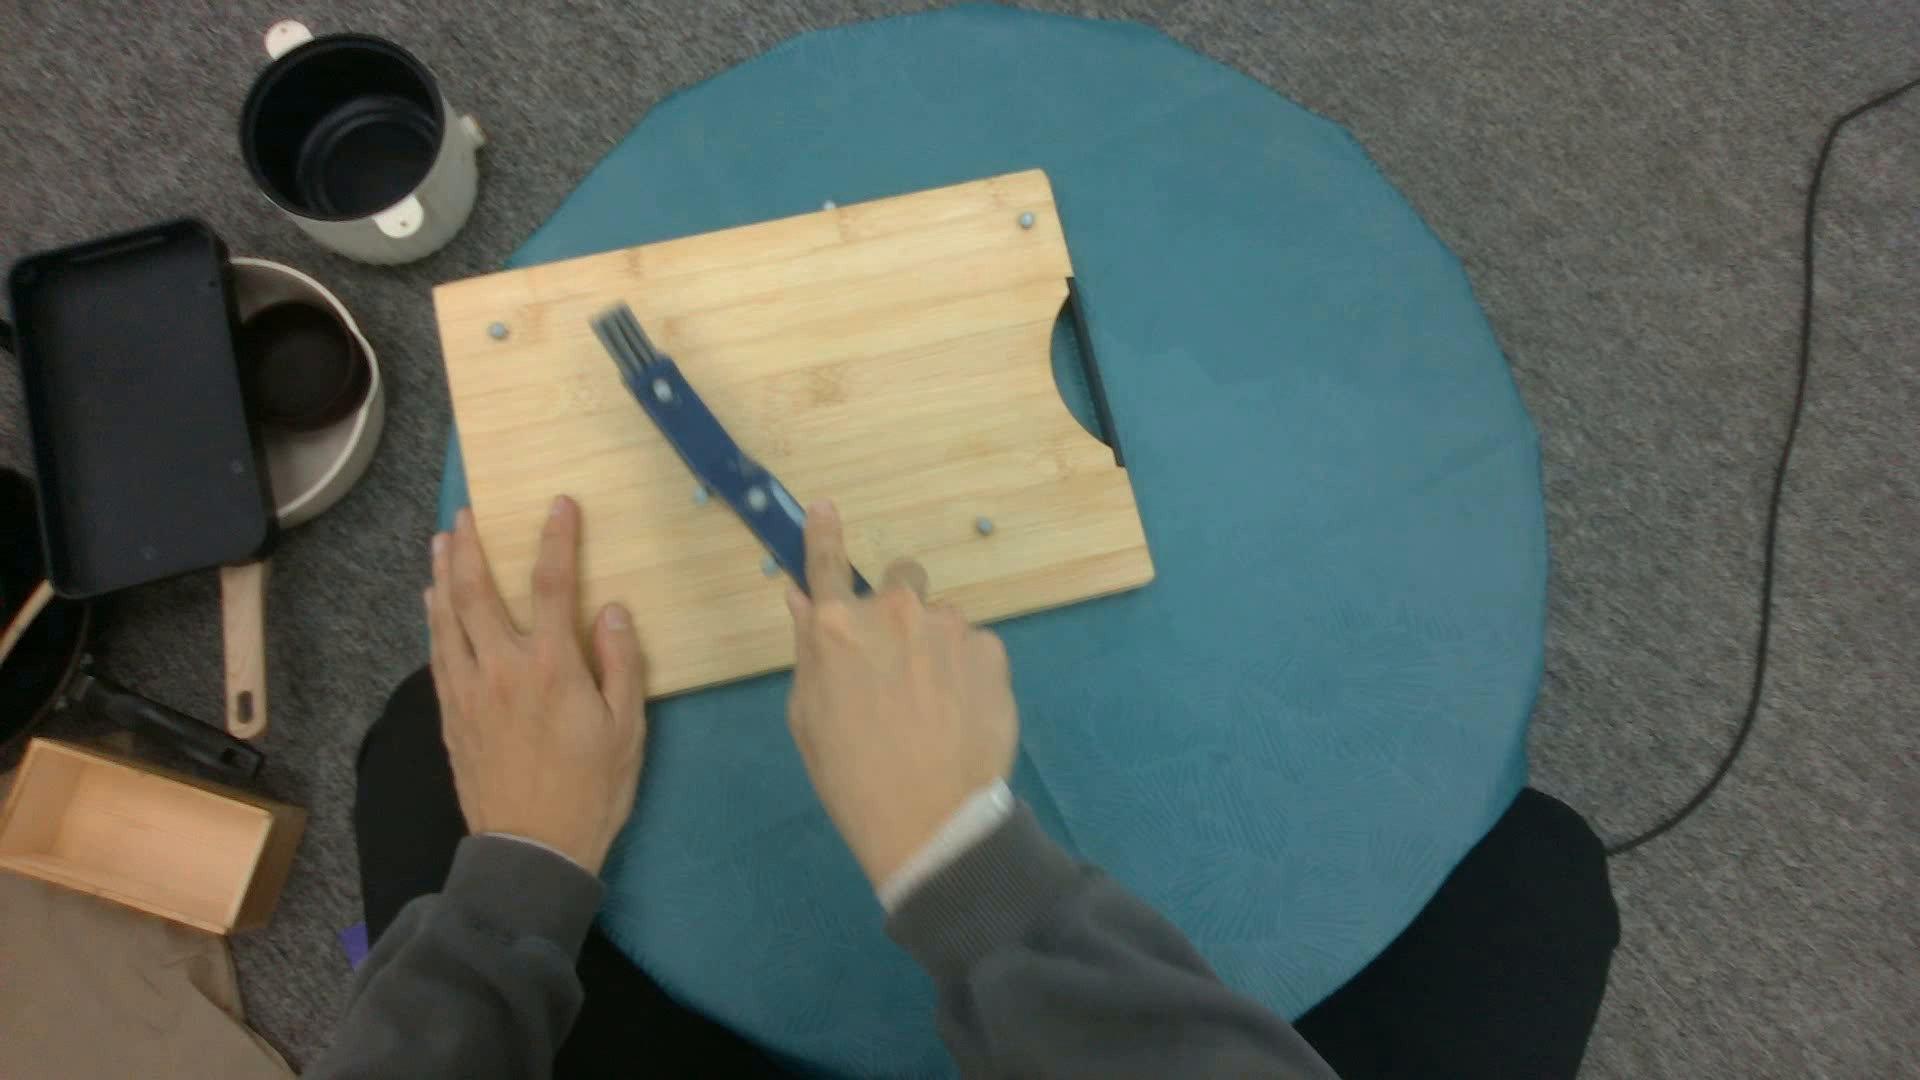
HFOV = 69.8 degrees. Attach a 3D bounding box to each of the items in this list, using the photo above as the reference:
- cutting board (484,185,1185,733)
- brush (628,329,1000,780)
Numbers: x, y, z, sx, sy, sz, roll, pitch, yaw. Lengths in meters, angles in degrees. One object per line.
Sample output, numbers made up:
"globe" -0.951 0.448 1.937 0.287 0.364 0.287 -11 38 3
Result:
"cutting board" -0.075 -0.050 0.758 0.349 0.023 0.251 -14 79 -4
"brush" -0.078 0.001 0.649 0.033 0.095 0.273 -33 51 -19
